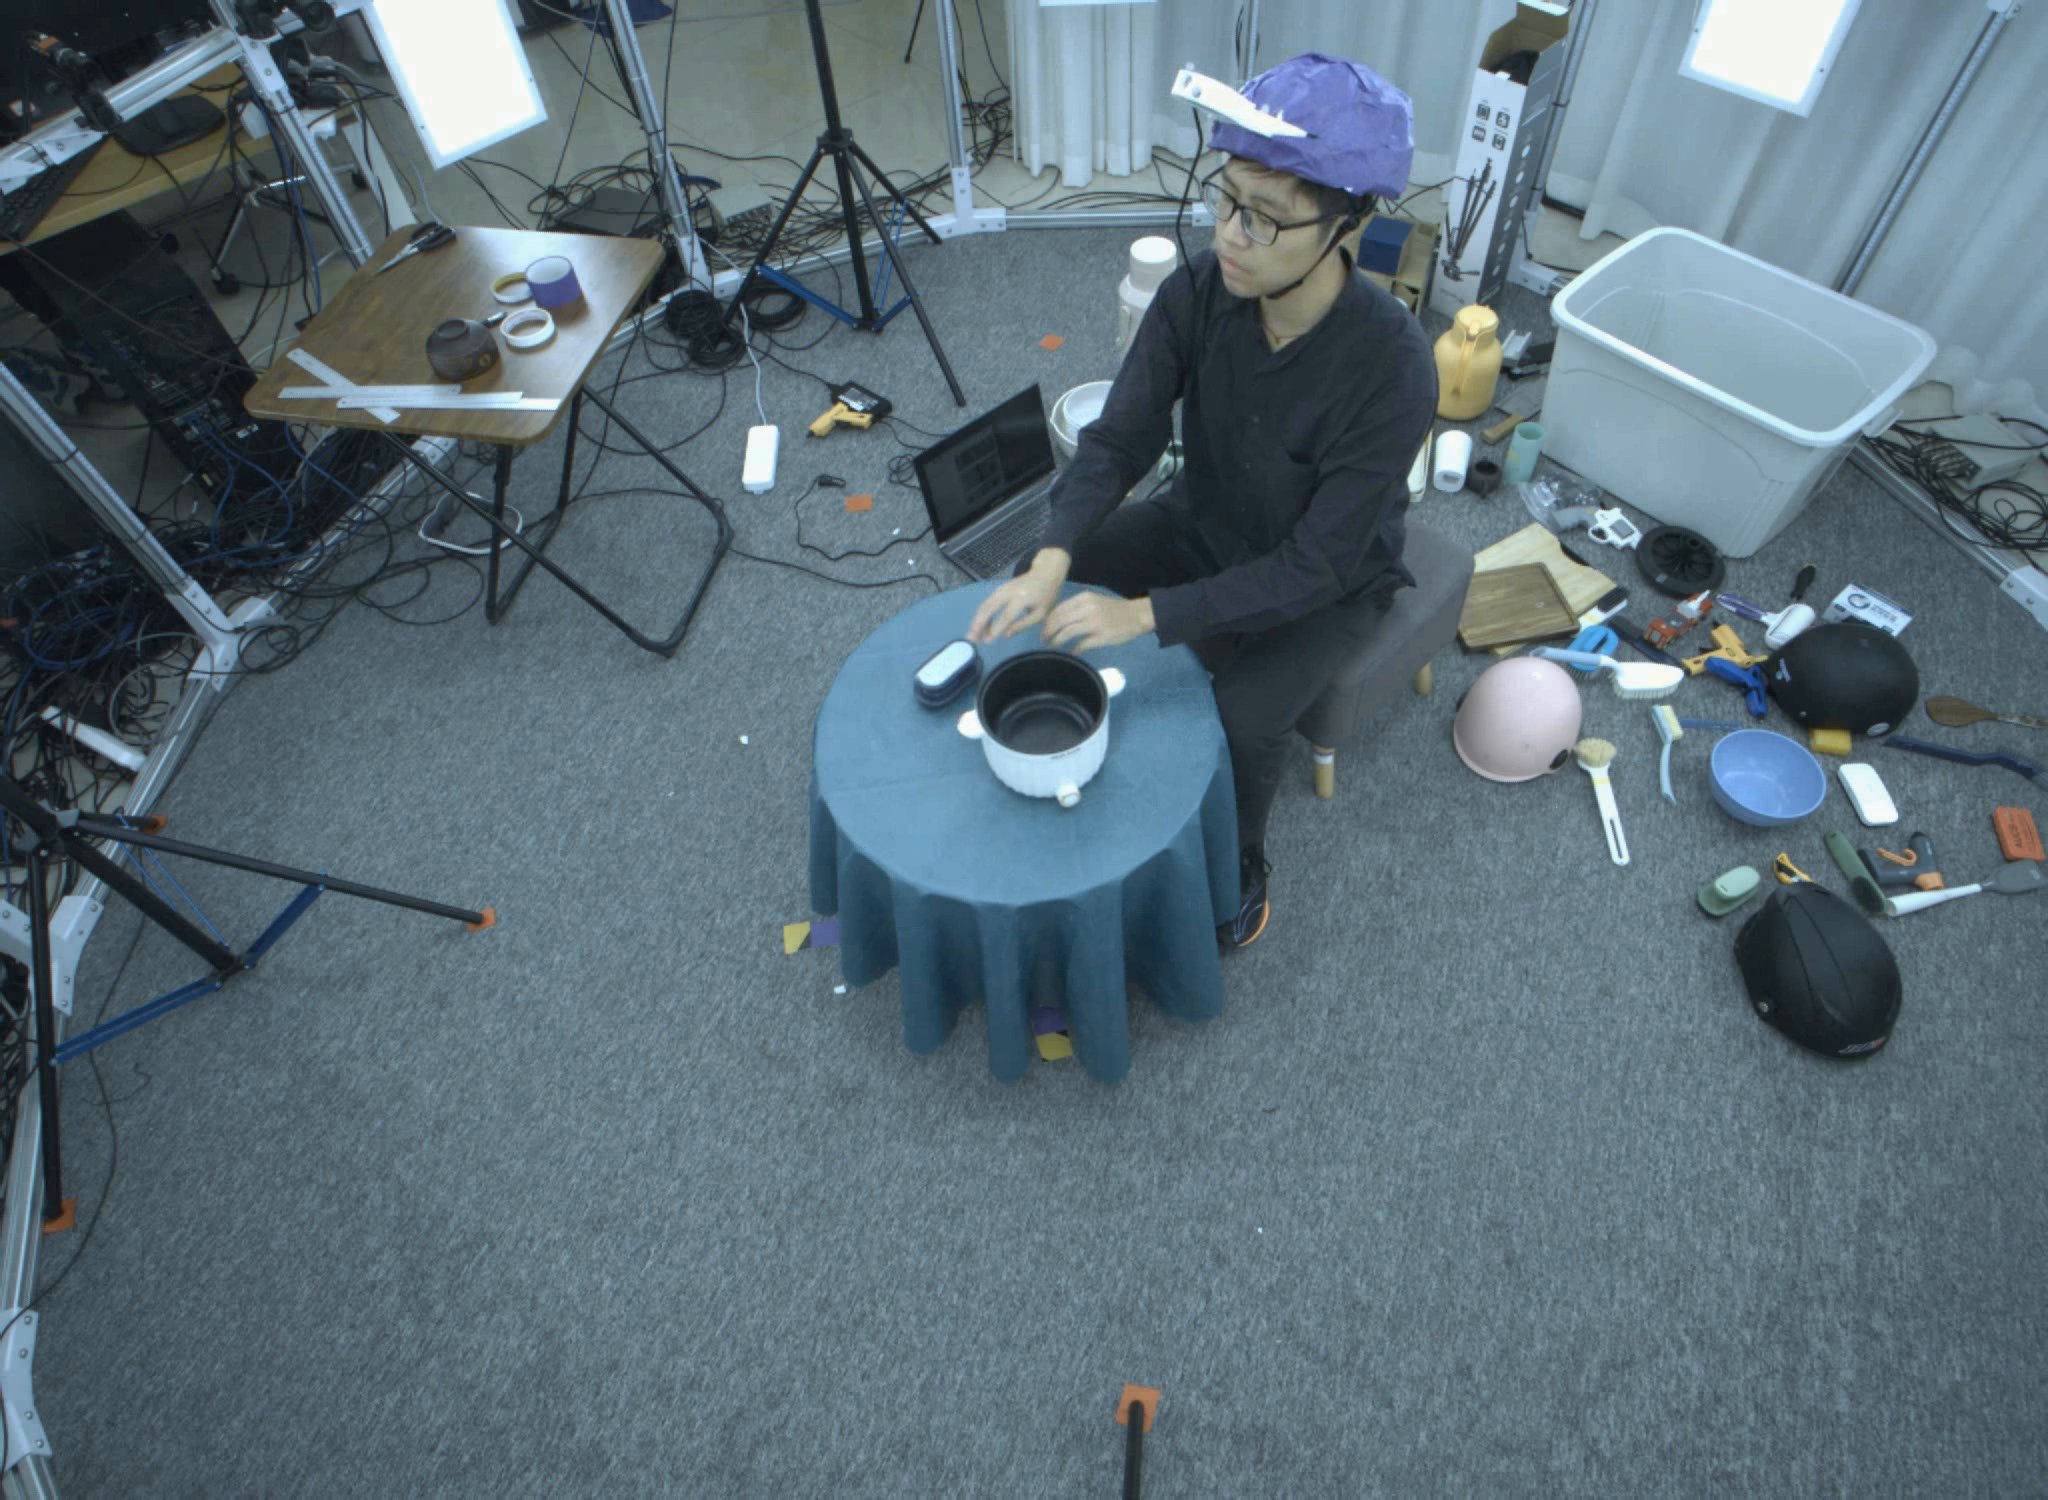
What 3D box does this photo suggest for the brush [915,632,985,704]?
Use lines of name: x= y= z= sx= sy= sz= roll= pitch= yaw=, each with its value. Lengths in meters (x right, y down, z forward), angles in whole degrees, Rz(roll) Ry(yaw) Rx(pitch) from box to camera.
brush: x=-0.111 y=-0.122 z=1.847 sx=0.122 sy=0.062 sz=0.066 roll=-41 pitch=59 yaw=-19

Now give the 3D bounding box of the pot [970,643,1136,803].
pot: x=0.048 y=-0.031 z=1.715 sx=0.242 sy=0.144 sz=0.187 roll=-19 pitch=53 yaw=-9
